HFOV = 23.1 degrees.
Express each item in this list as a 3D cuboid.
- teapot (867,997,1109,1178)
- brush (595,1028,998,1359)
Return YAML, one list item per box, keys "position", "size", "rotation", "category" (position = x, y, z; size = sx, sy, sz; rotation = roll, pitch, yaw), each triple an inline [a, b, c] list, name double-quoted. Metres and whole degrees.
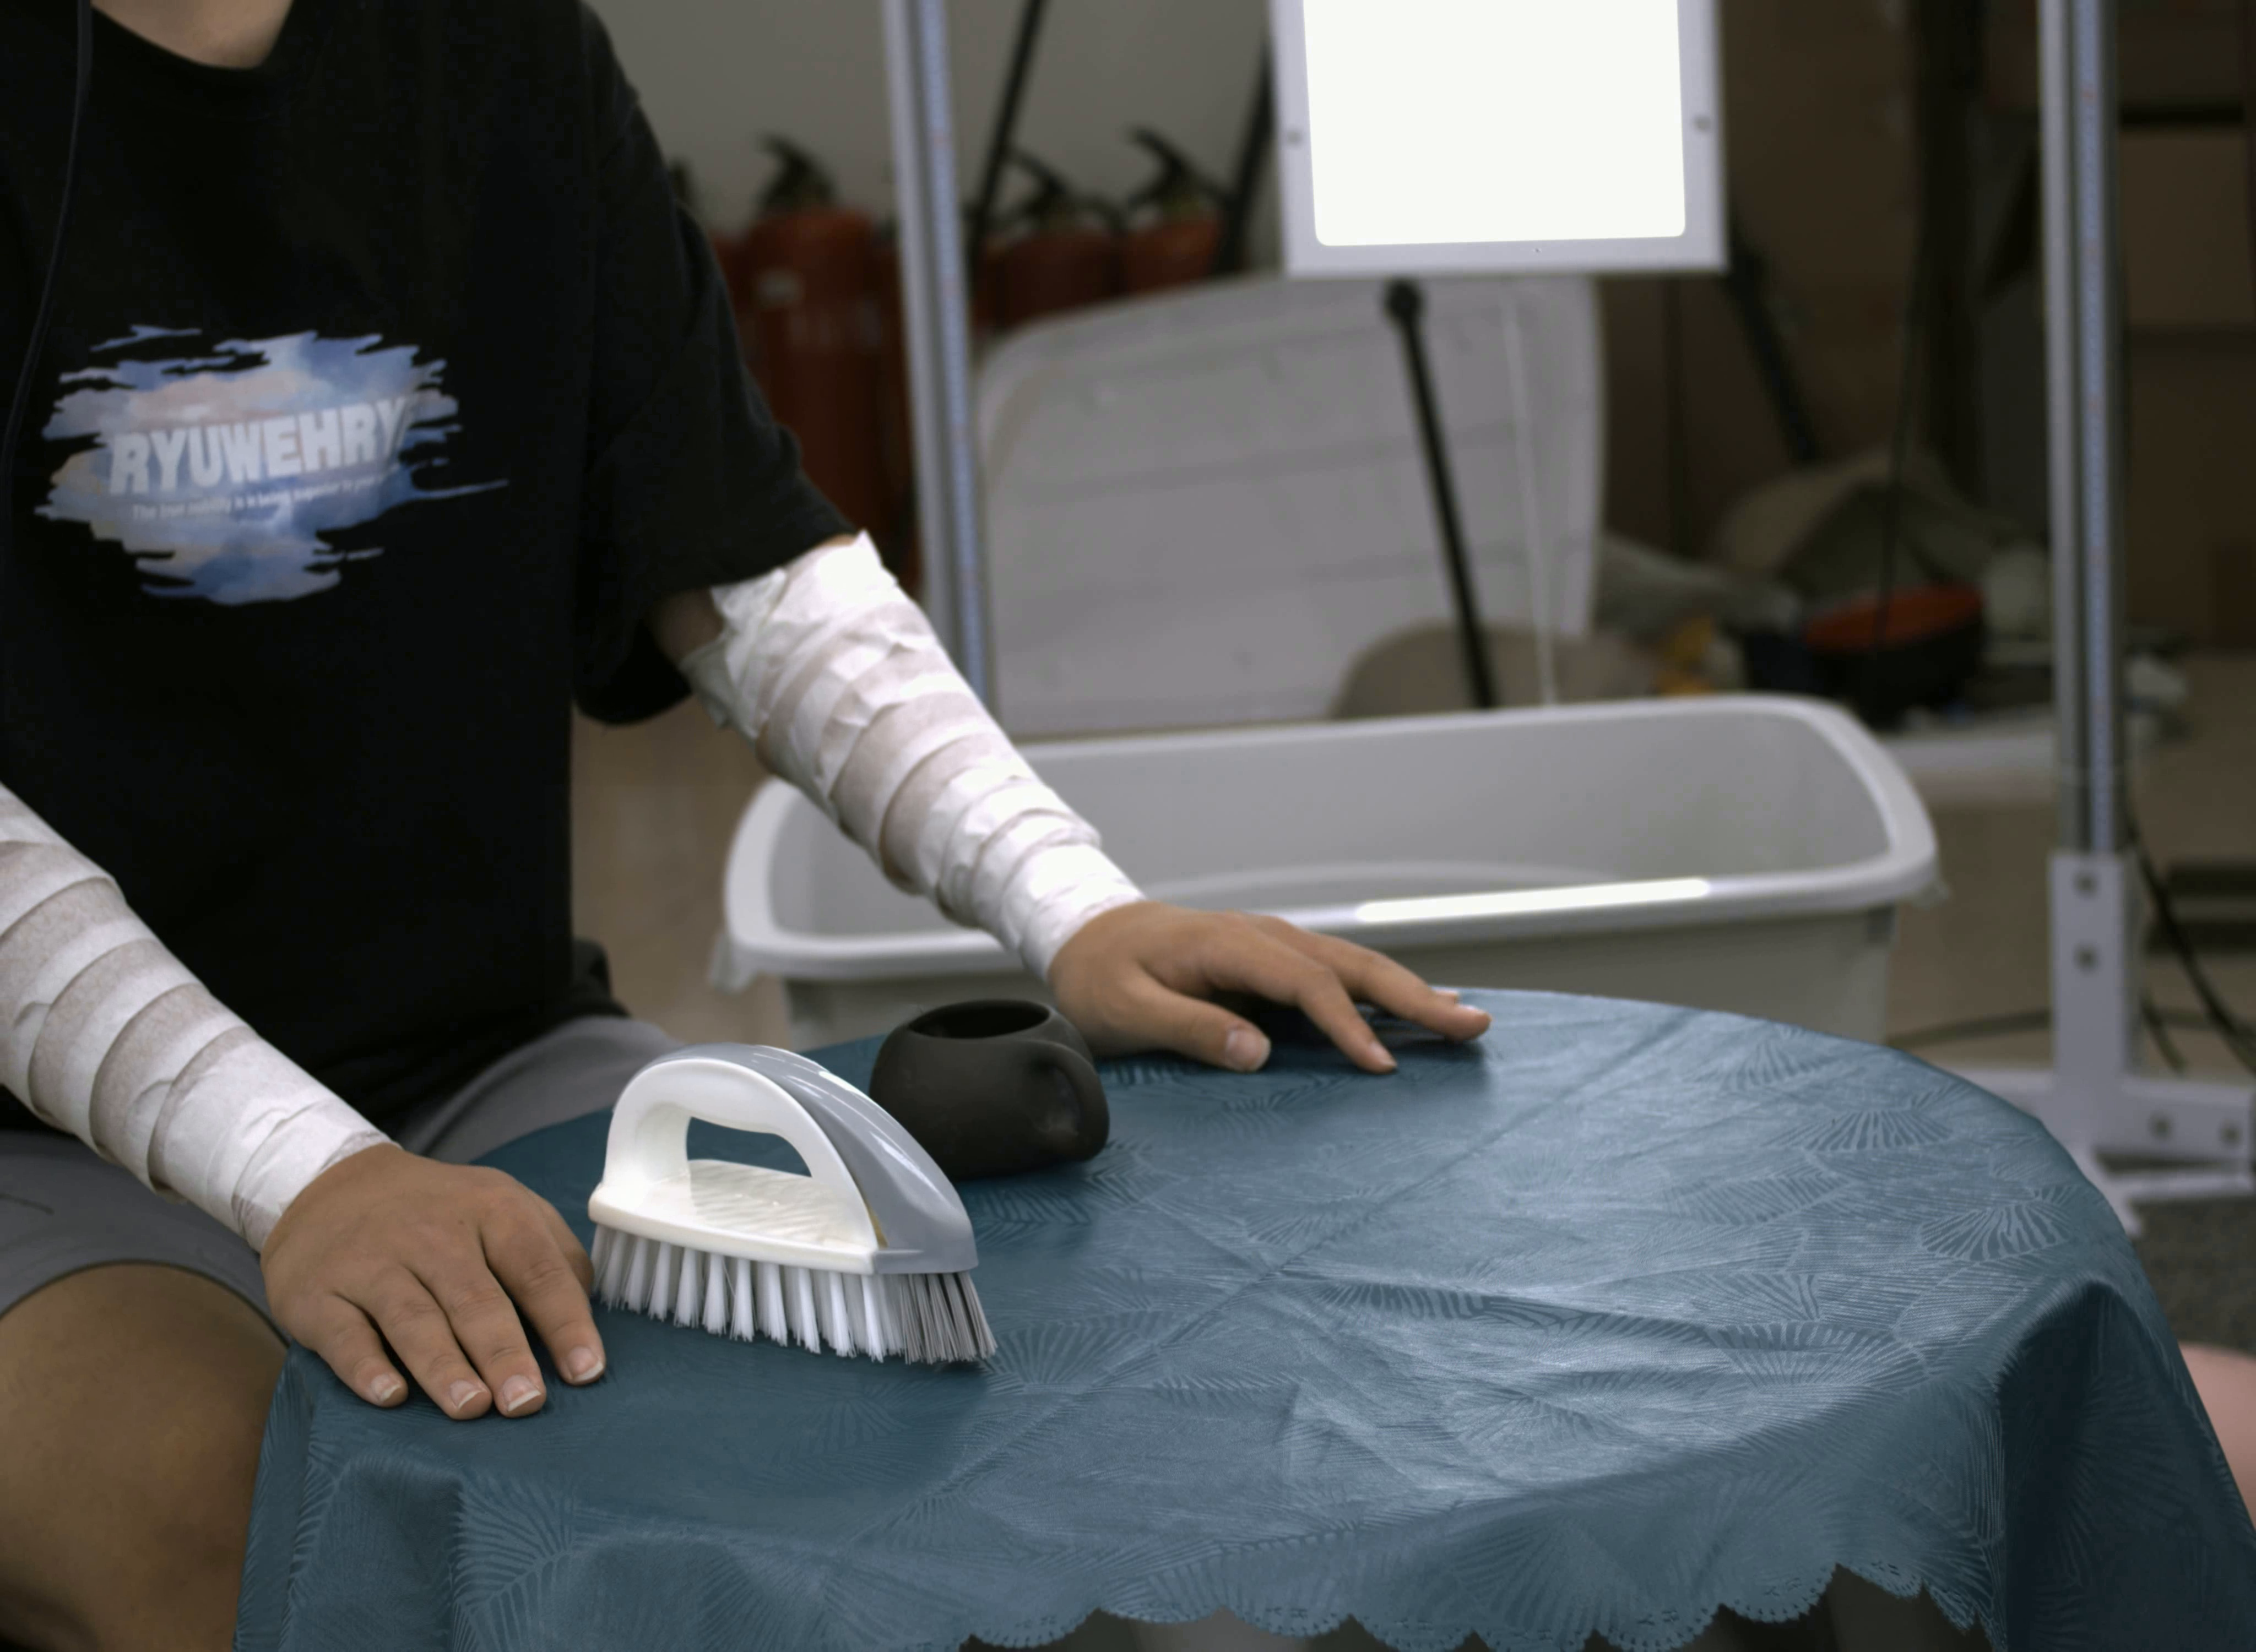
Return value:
- position: [-0.044, 0.093, 1.943]
  size: [0.081, 0.053, 0.116]
  rotation: [-14, 14, -34]
  category: "teapot"
- position: [-0.106, 0.116, 1.787]
  size: [0.060, 0.094, 0.179]
  rotation: [-20, 21, -39]
  category: "brush"
